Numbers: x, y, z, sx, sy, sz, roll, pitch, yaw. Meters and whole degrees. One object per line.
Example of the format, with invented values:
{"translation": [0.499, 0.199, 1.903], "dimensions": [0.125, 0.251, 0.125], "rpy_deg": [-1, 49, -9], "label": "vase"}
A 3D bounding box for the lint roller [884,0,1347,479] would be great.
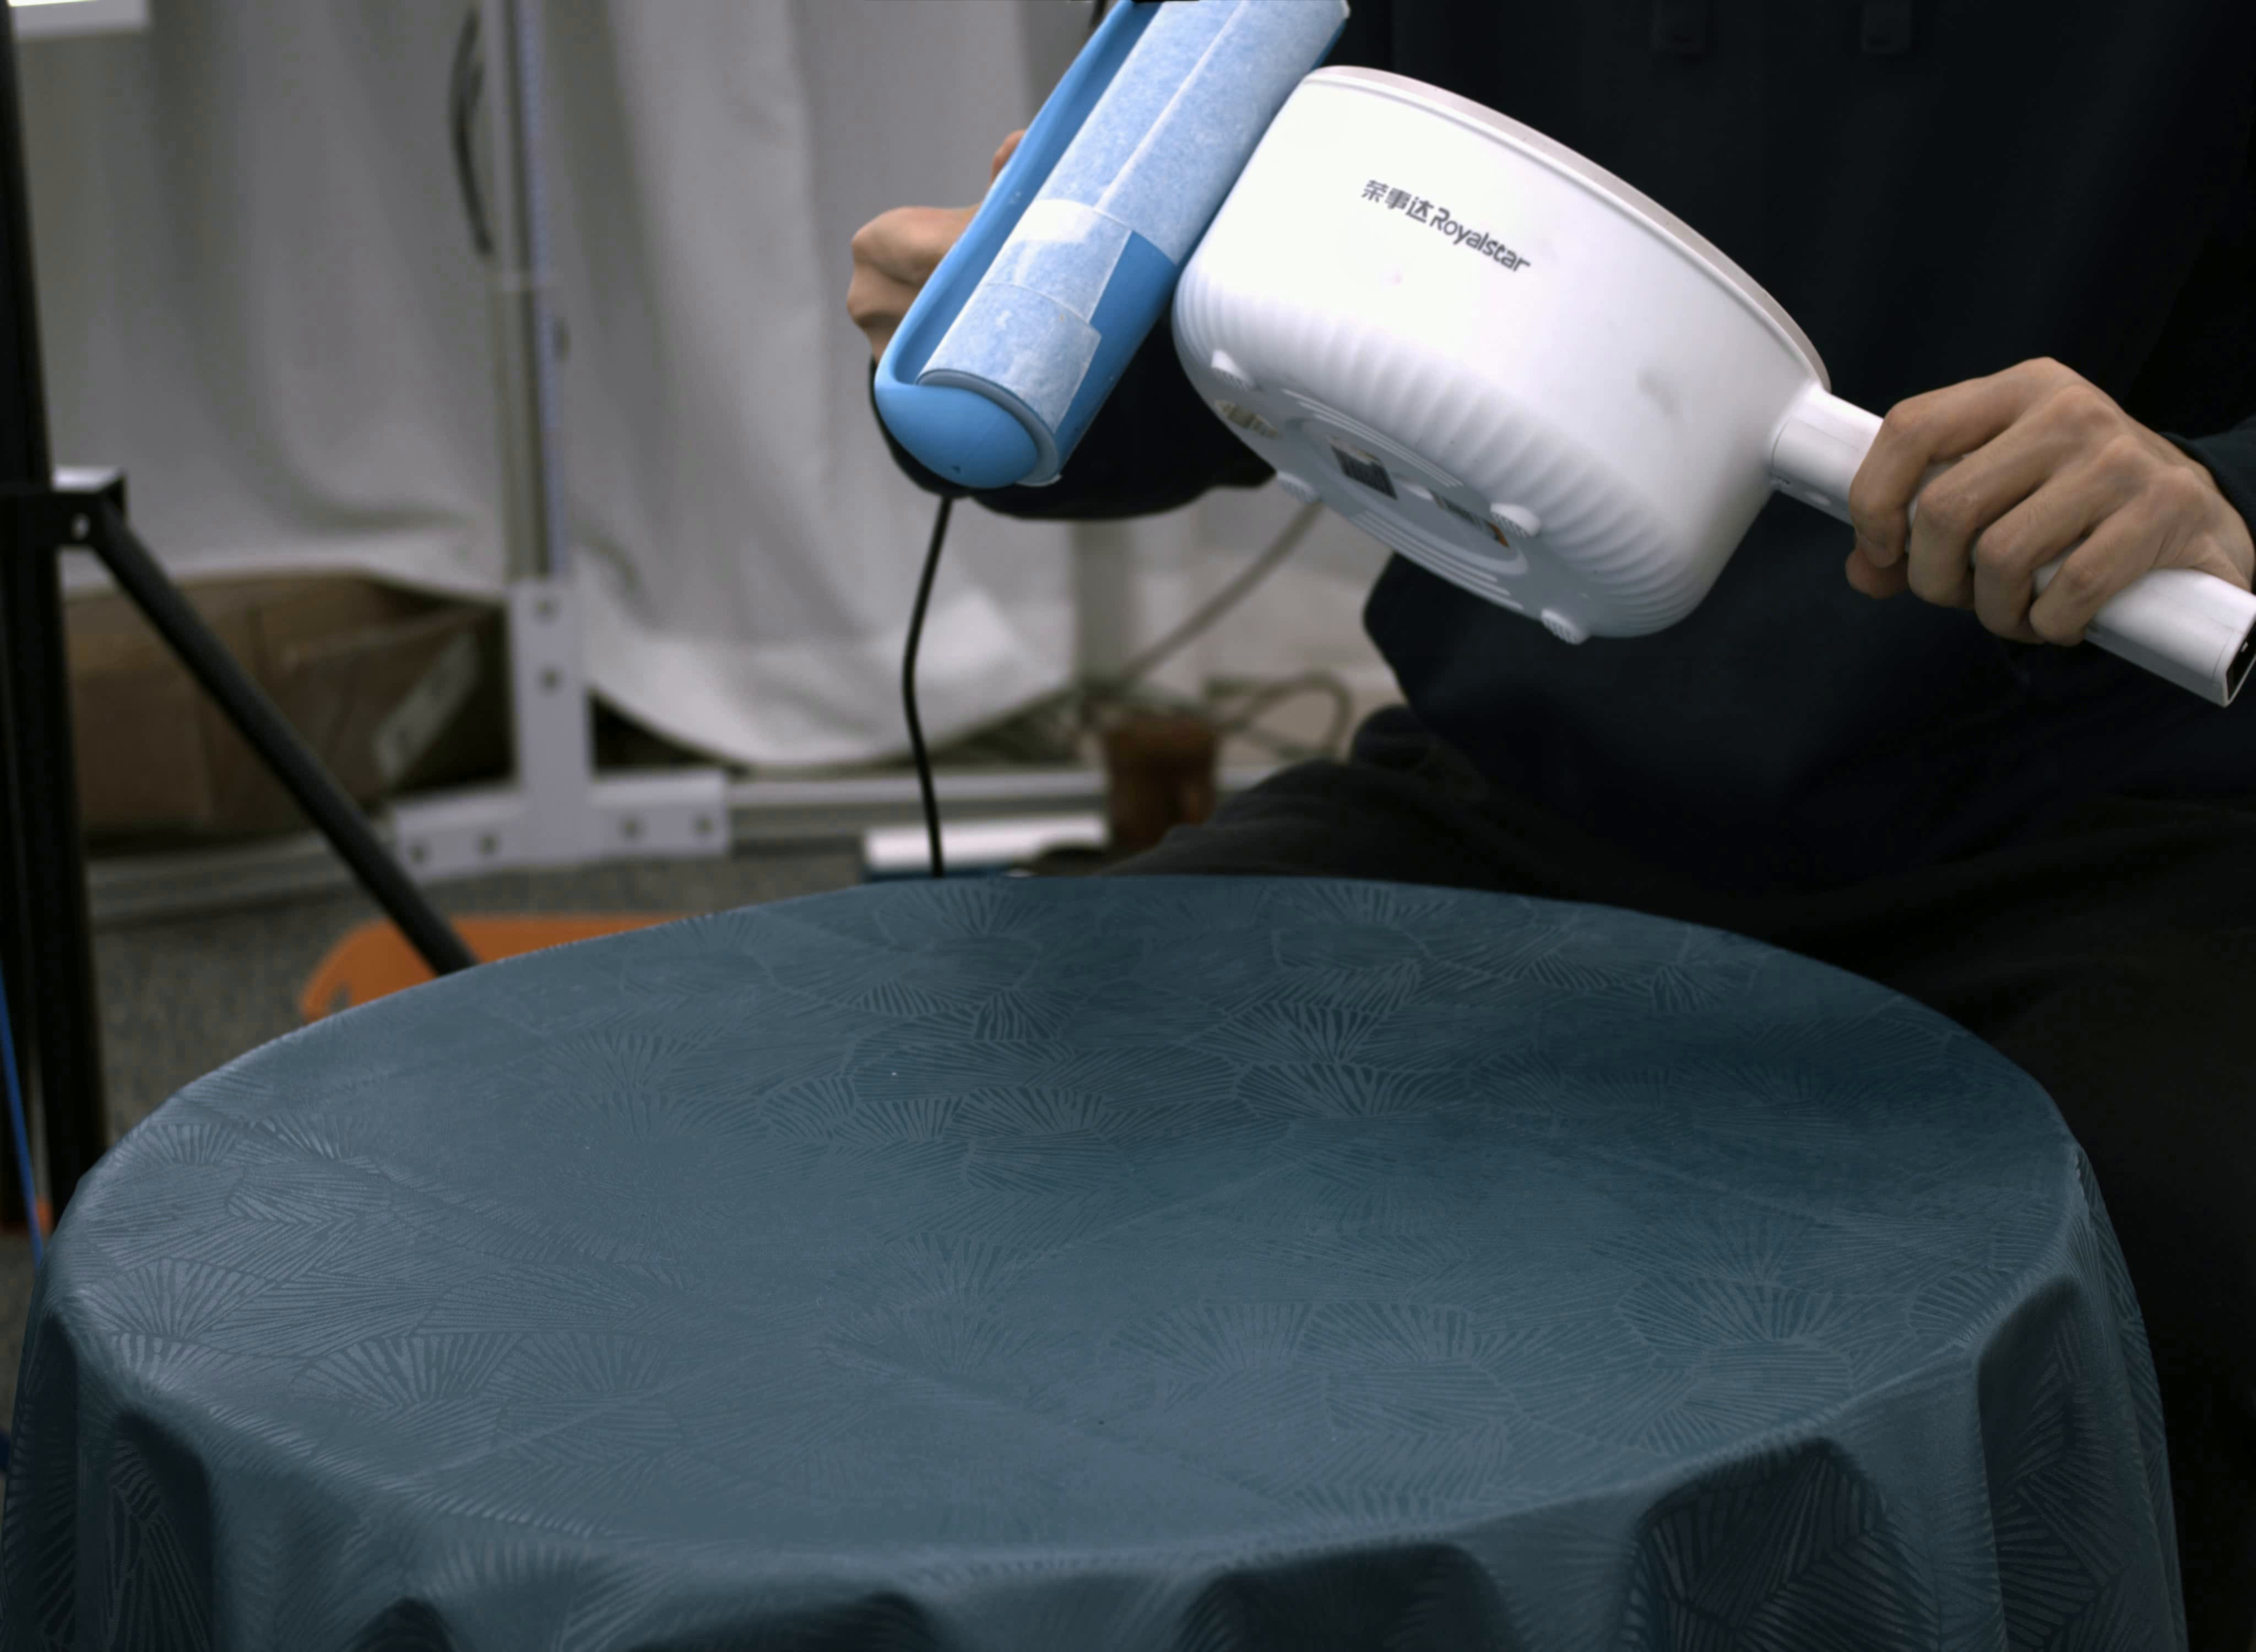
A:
{"translation": [-0.023, -0.185, 1.746], "dimensions": [0.228, 0.067, 0.182], "rpy_deg": [-61, 14, -27], "label": "lint roller"}

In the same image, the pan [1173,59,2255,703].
{"translation": [0.173, -0.105, 1.644], "dimensions": [0.360, 0.102, 0.198], "rpy_deg": [30, -9, 22], "label": "pan"}
